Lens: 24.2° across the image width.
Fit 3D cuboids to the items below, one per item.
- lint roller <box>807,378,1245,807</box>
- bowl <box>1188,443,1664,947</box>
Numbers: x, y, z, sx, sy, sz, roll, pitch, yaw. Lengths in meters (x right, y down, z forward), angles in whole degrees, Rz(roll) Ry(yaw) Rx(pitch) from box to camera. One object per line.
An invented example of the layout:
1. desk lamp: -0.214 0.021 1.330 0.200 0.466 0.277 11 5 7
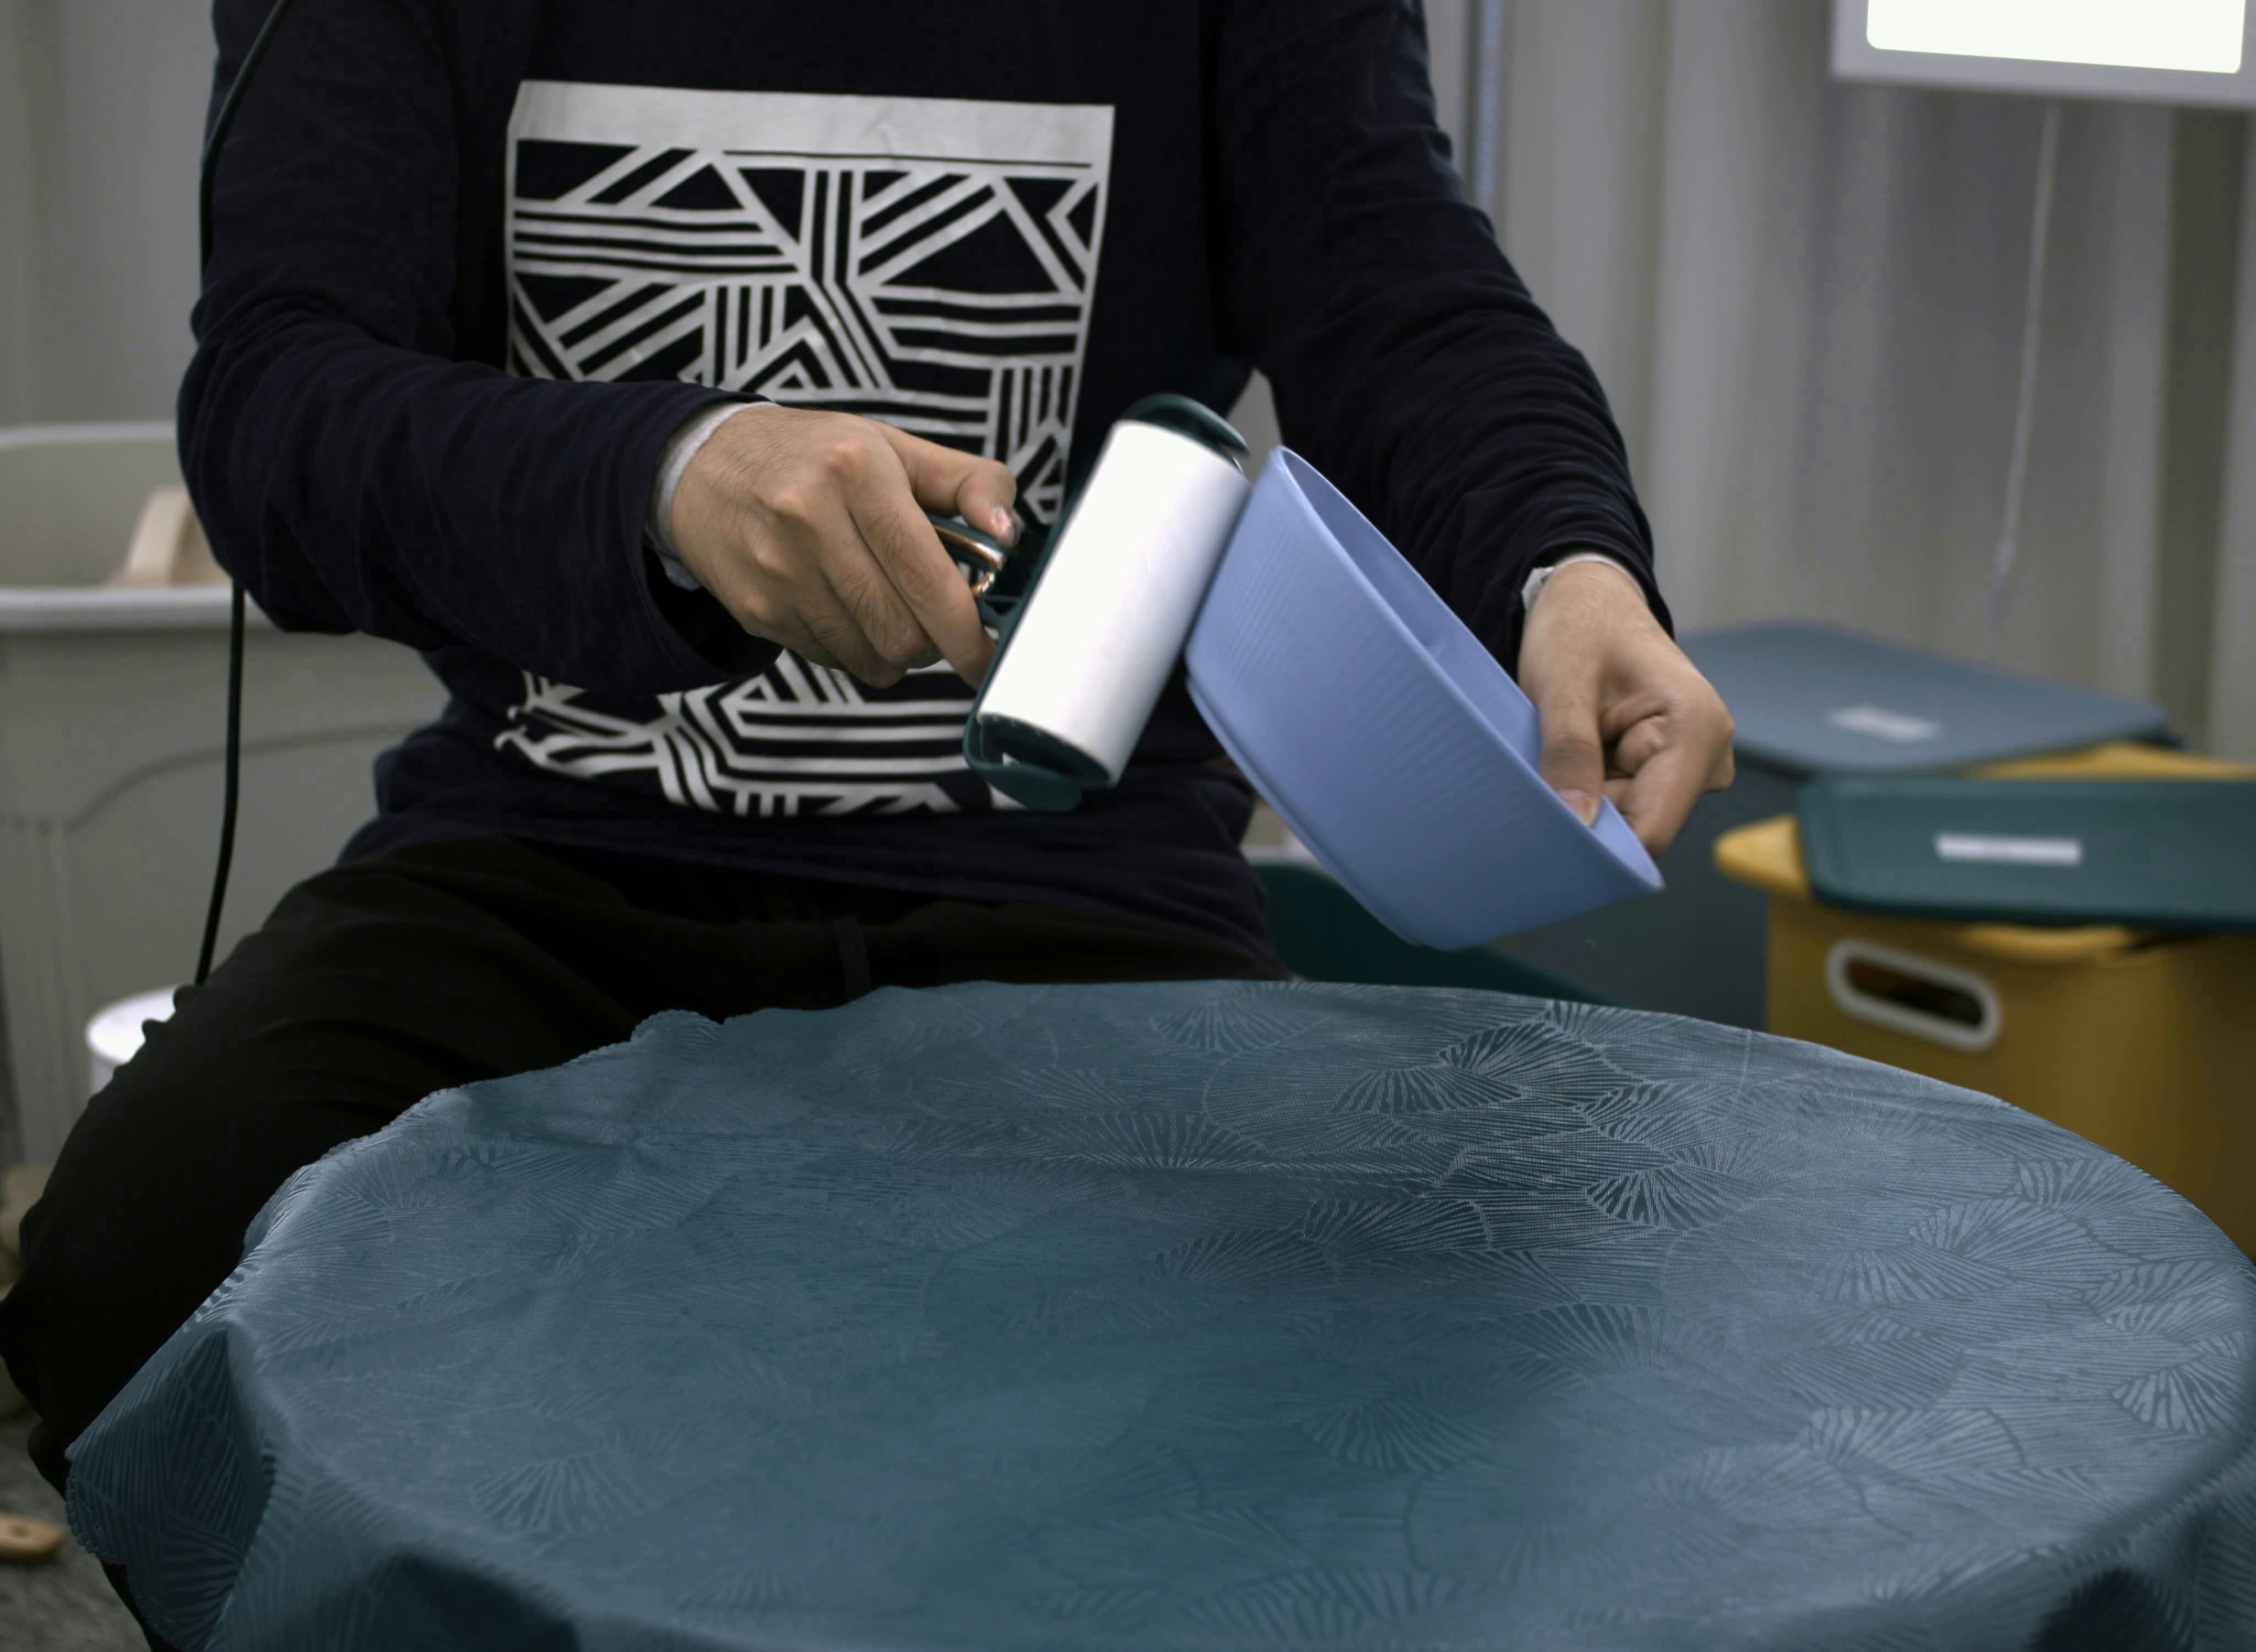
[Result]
1. lint roller: -0.051 -0.079 1.613 0.178 0.134 0.049 12 -16 45
2. bowl: 0.079 -0.028 1.576 0.070 0.177 0.175 -41 15 8
